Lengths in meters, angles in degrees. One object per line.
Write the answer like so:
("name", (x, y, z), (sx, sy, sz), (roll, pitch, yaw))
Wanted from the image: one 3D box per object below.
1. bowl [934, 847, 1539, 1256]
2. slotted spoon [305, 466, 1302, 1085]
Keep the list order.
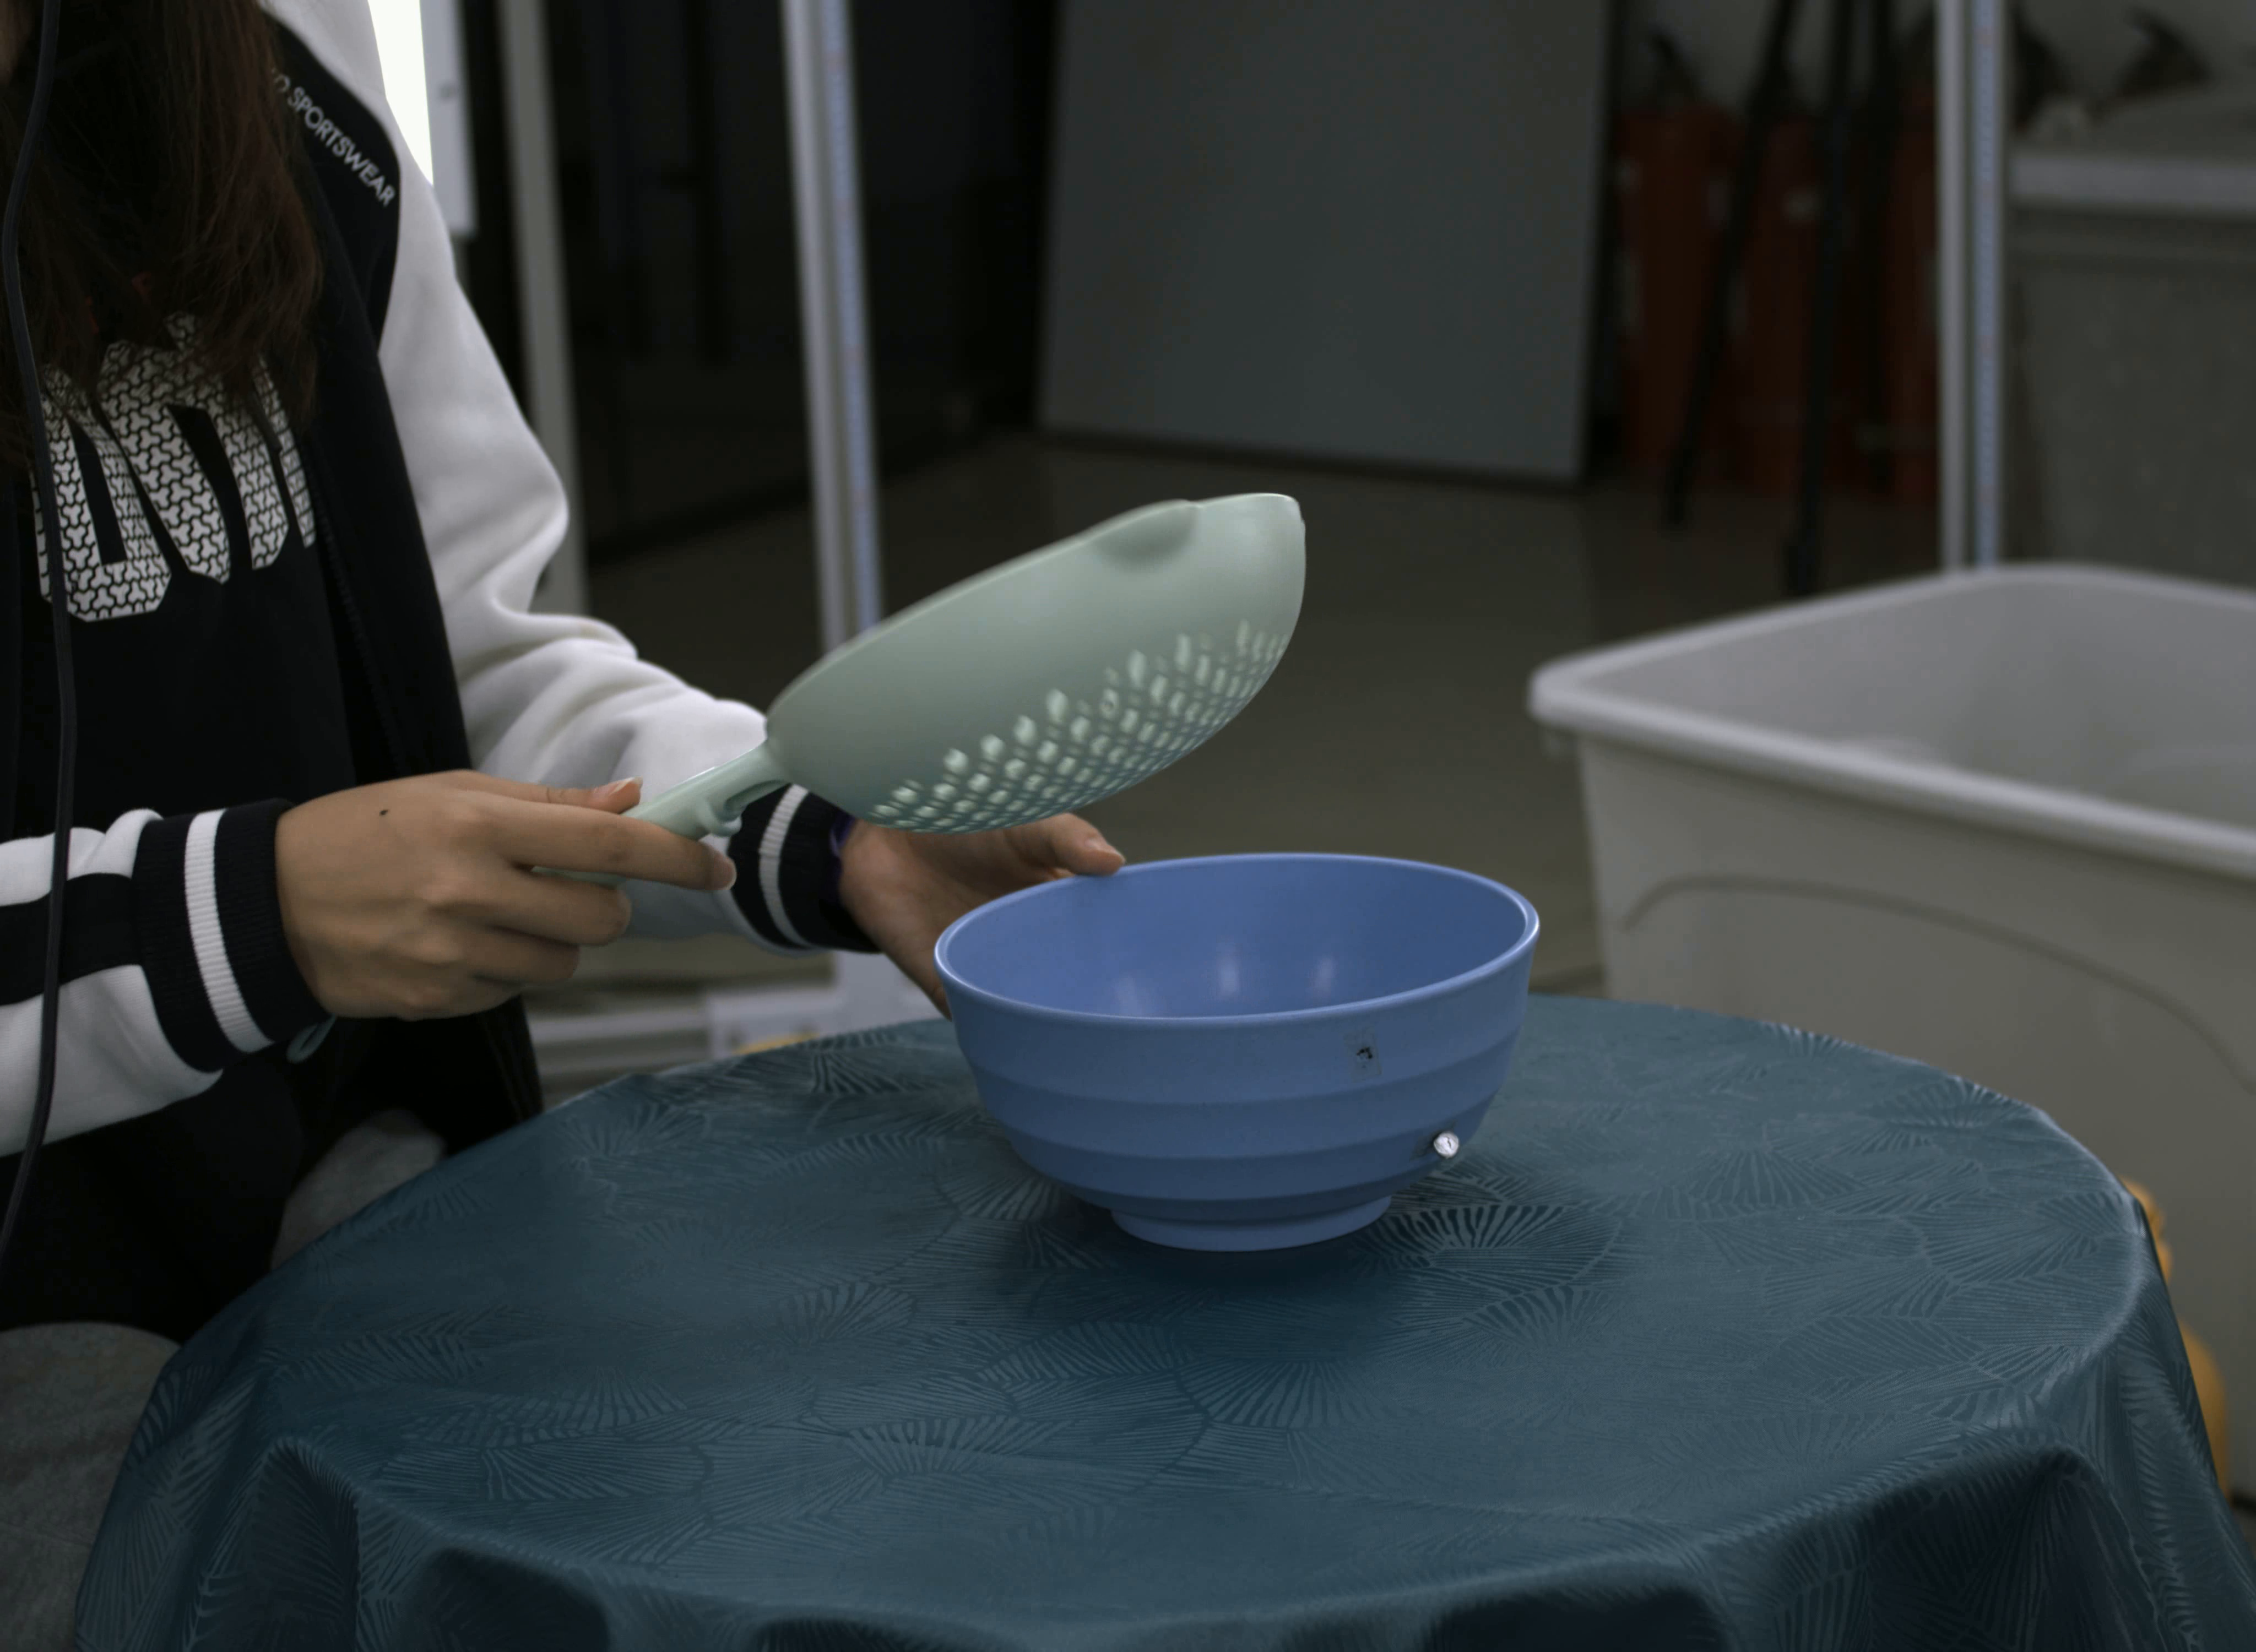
("bowl", (0.038, 0.078, 1.733), (0.194, 0.096, 0.197), (-5, 14, 0))
("slotted spoon", (-0.104, -0.012, 1.610), (0.359, 0.076, 0.167), (-19, -5, 20))
